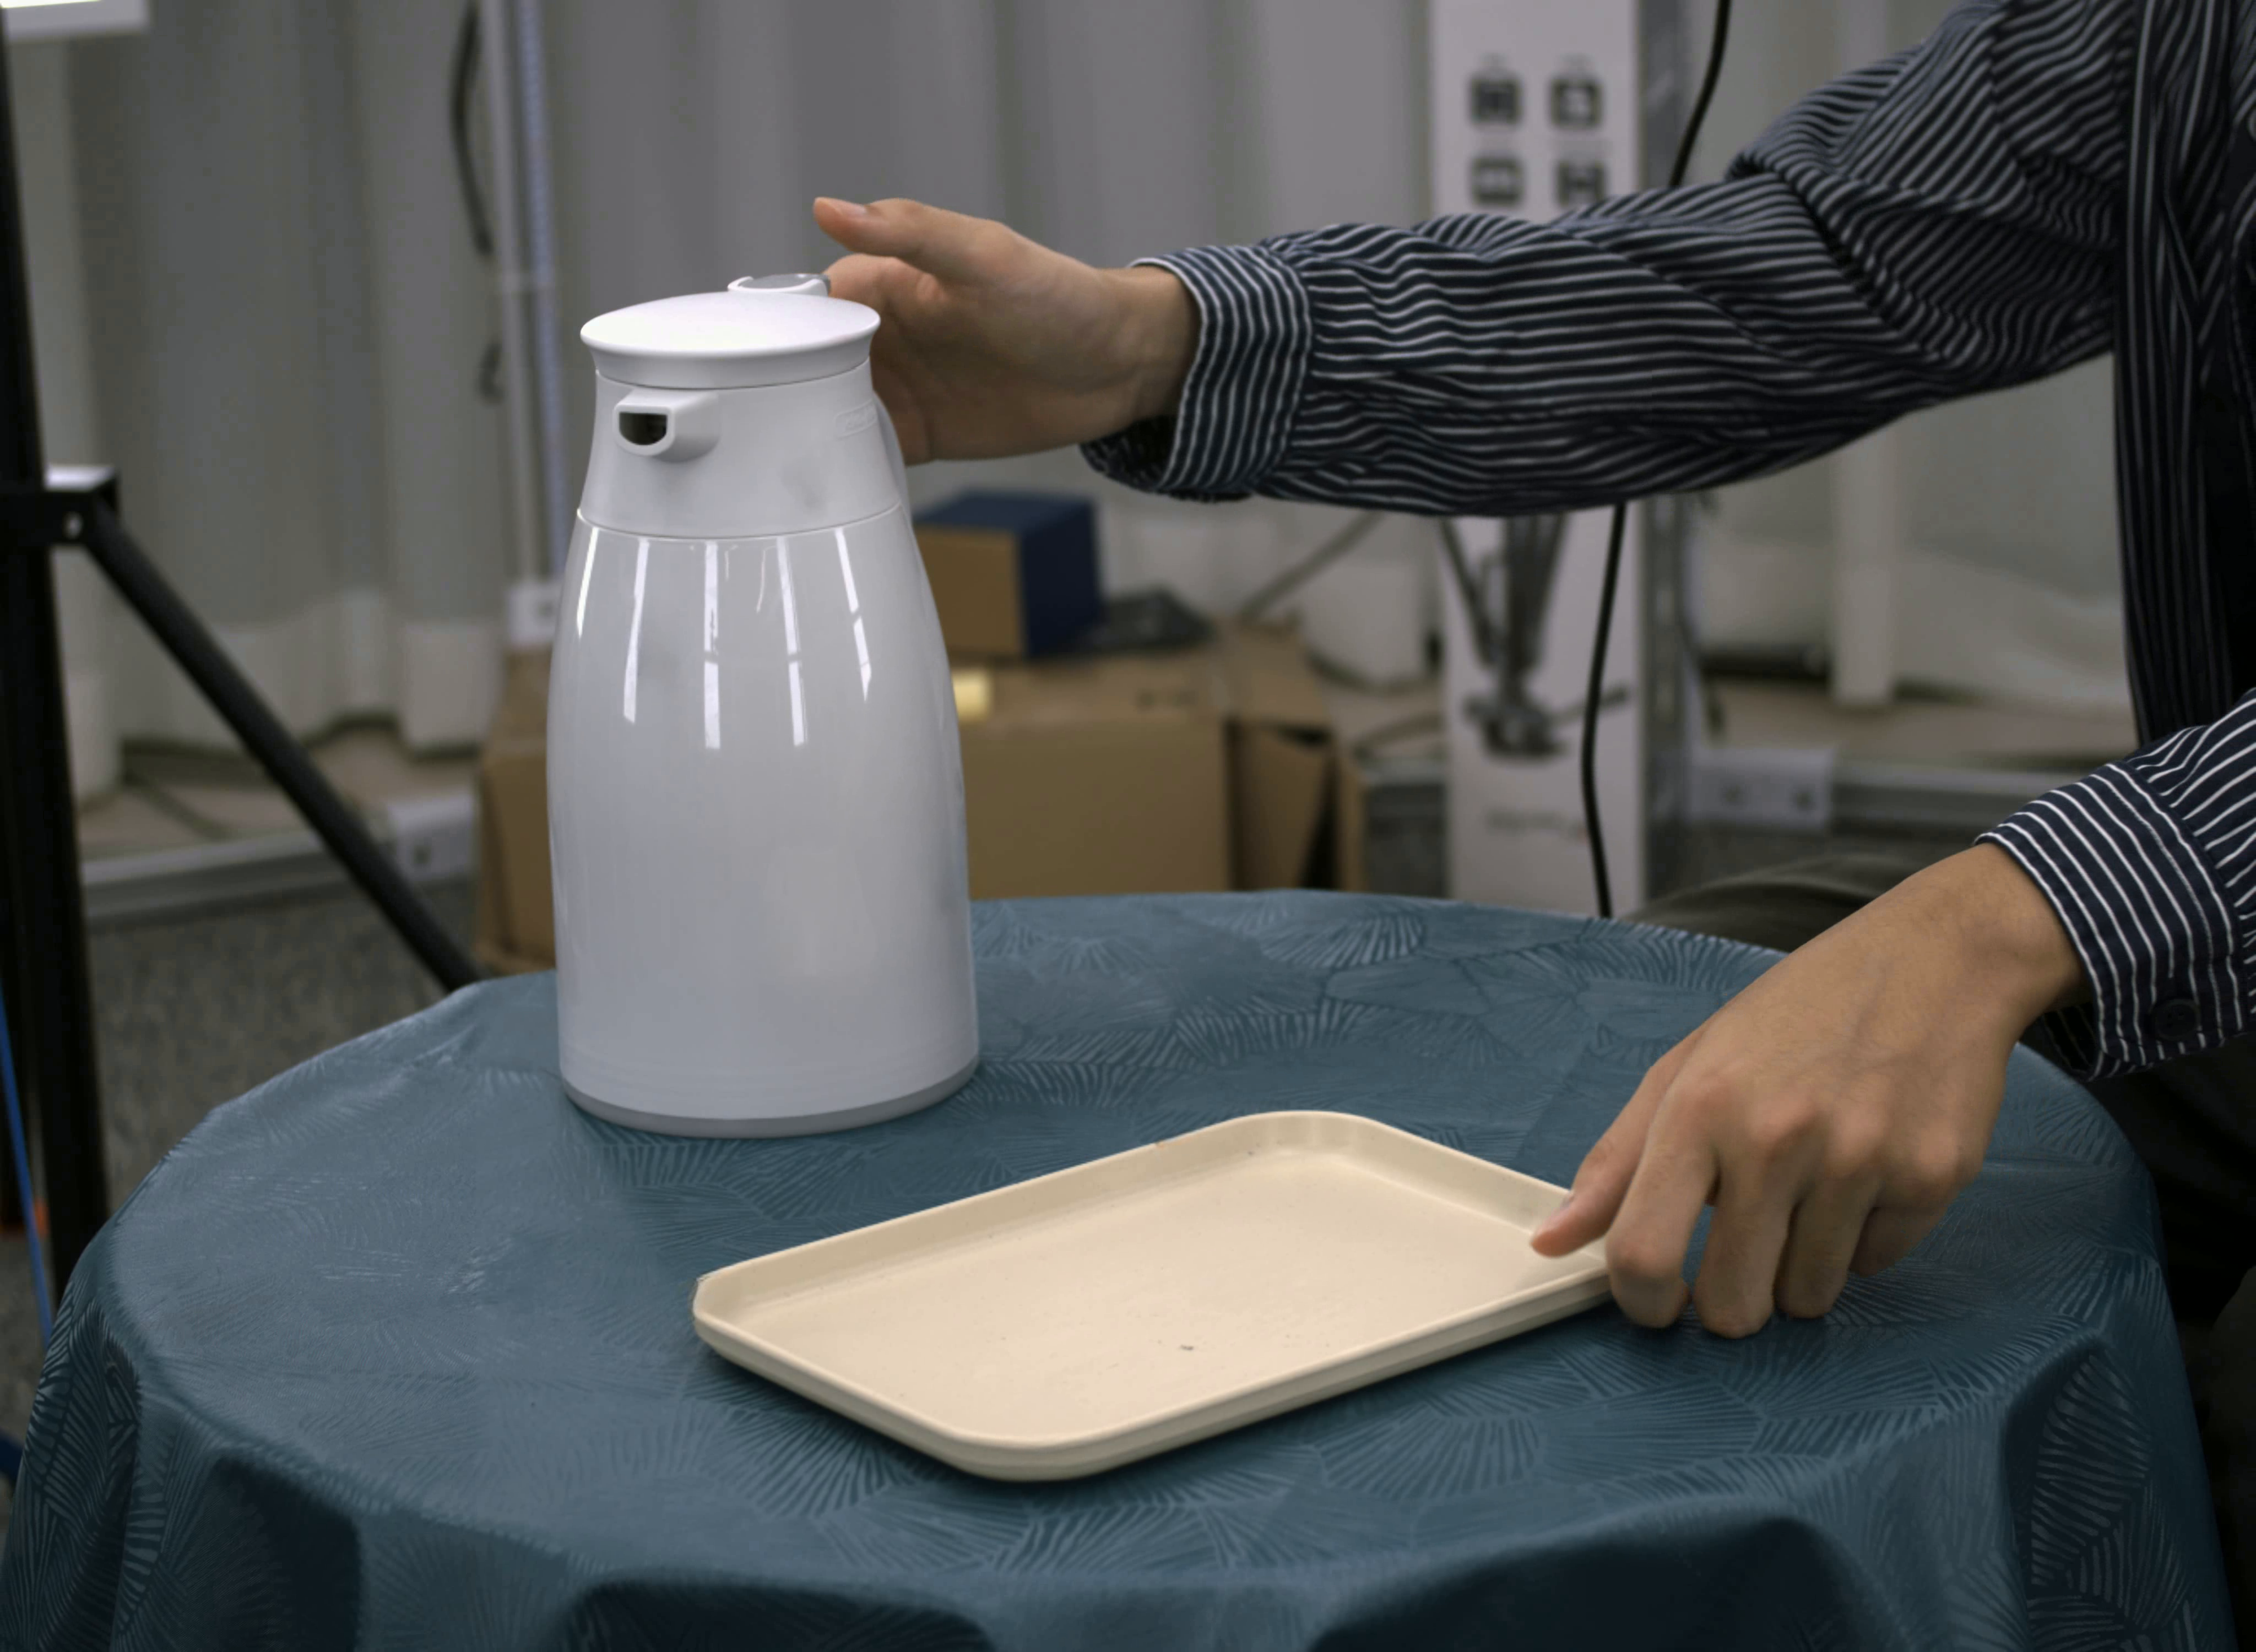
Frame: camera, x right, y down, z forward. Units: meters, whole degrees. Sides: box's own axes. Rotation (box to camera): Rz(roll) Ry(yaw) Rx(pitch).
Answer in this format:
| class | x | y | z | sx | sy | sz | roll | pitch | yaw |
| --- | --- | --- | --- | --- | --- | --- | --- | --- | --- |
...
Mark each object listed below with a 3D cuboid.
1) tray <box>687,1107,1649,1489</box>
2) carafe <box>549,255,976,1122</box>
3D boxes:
| class | x | y | z | sx | sy | sz | roll | pitch | yaw |
| --- | --- | --- | --- | --- | --- | --- | --- | --- | --- |
| tray | 0.012 | 0.128 | 1.459 | 0.234 | 0.017 | 0.175 | -14 | 20 | -35 |
| carafe | -0.112 | -0.051 | 1.676 | 0.134 | 0.248 | 0.166 | 3 | 15 | 18 |
